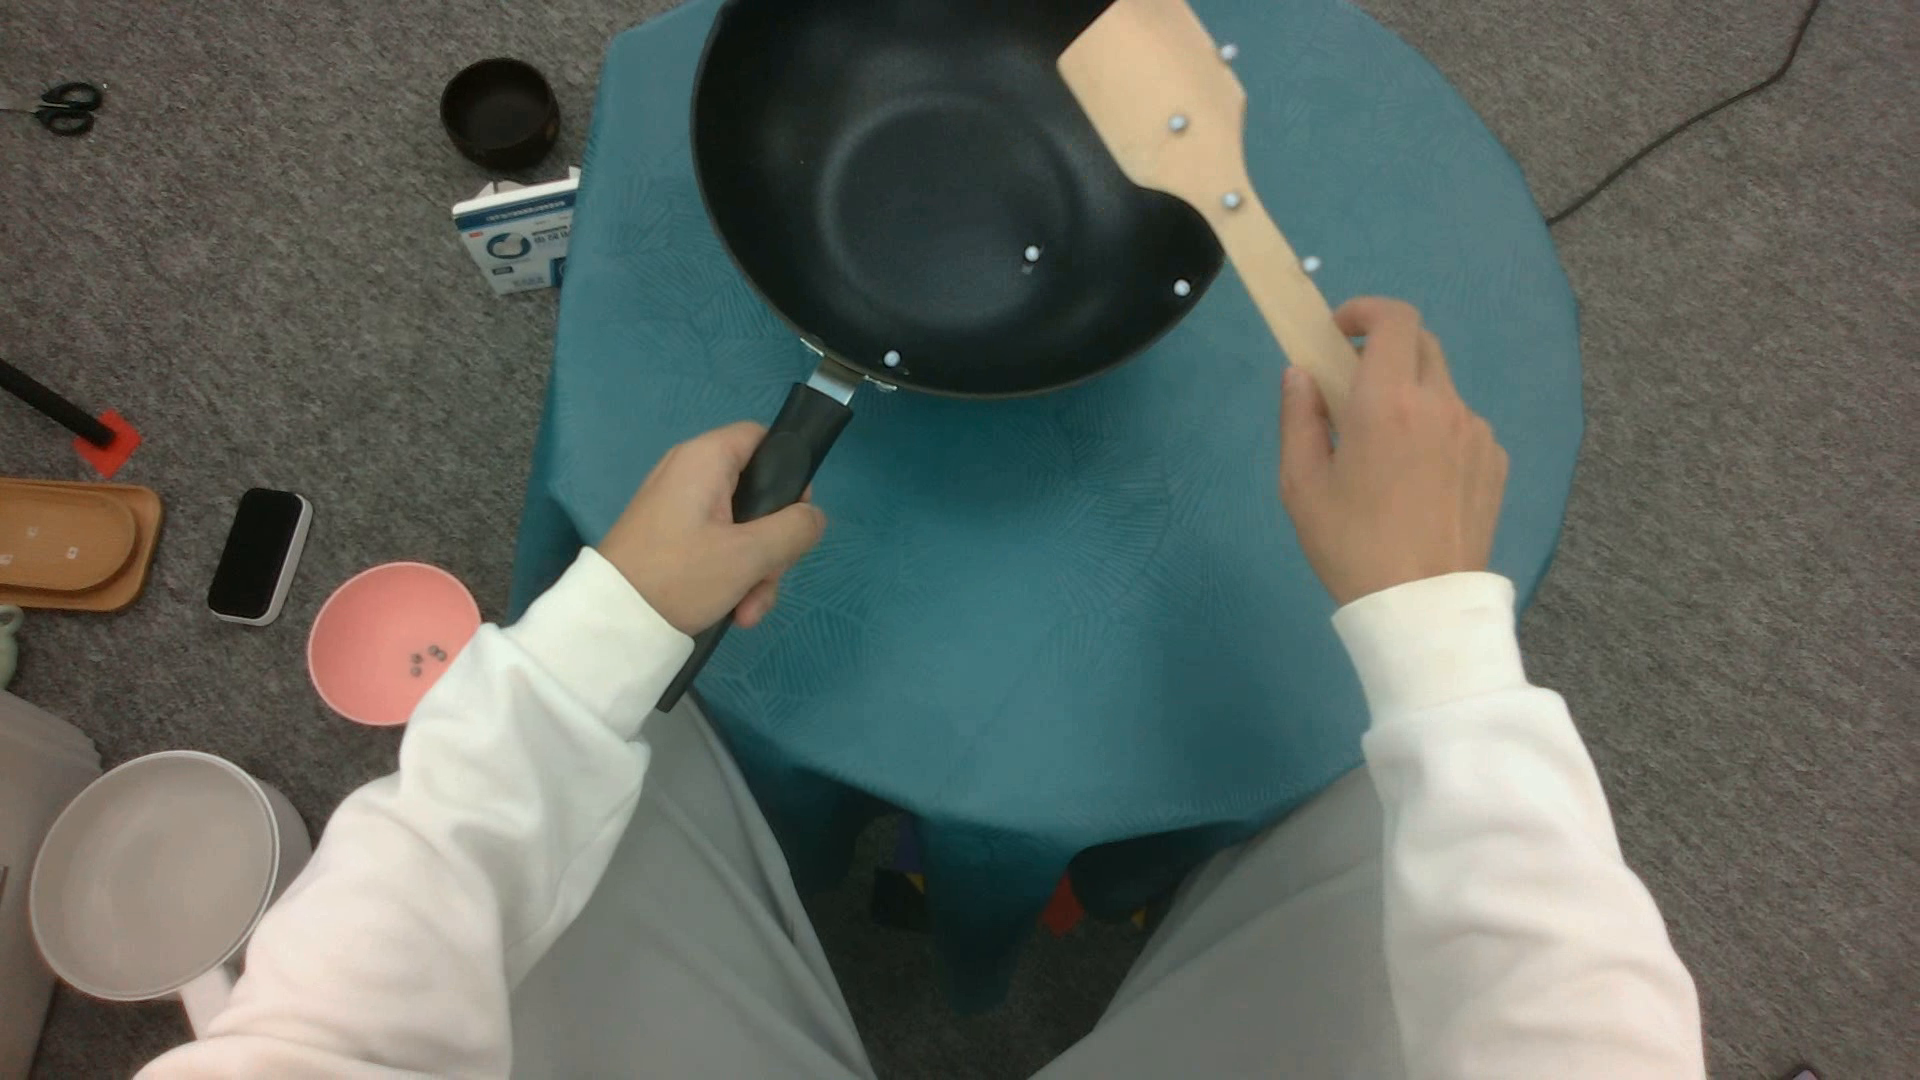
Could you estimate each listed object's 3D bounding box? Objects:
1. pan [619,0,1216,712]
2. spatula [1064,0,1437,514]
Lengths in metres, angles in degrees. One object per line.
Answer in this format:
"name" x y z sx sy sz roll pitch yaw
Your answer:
"pan" -0.045 -0.114 0.729 0.288 0.086 0.464 26 75 1
"spatula" 0.145 -0.140 0.667 0.072 0.010 0.293 -34 71 21
